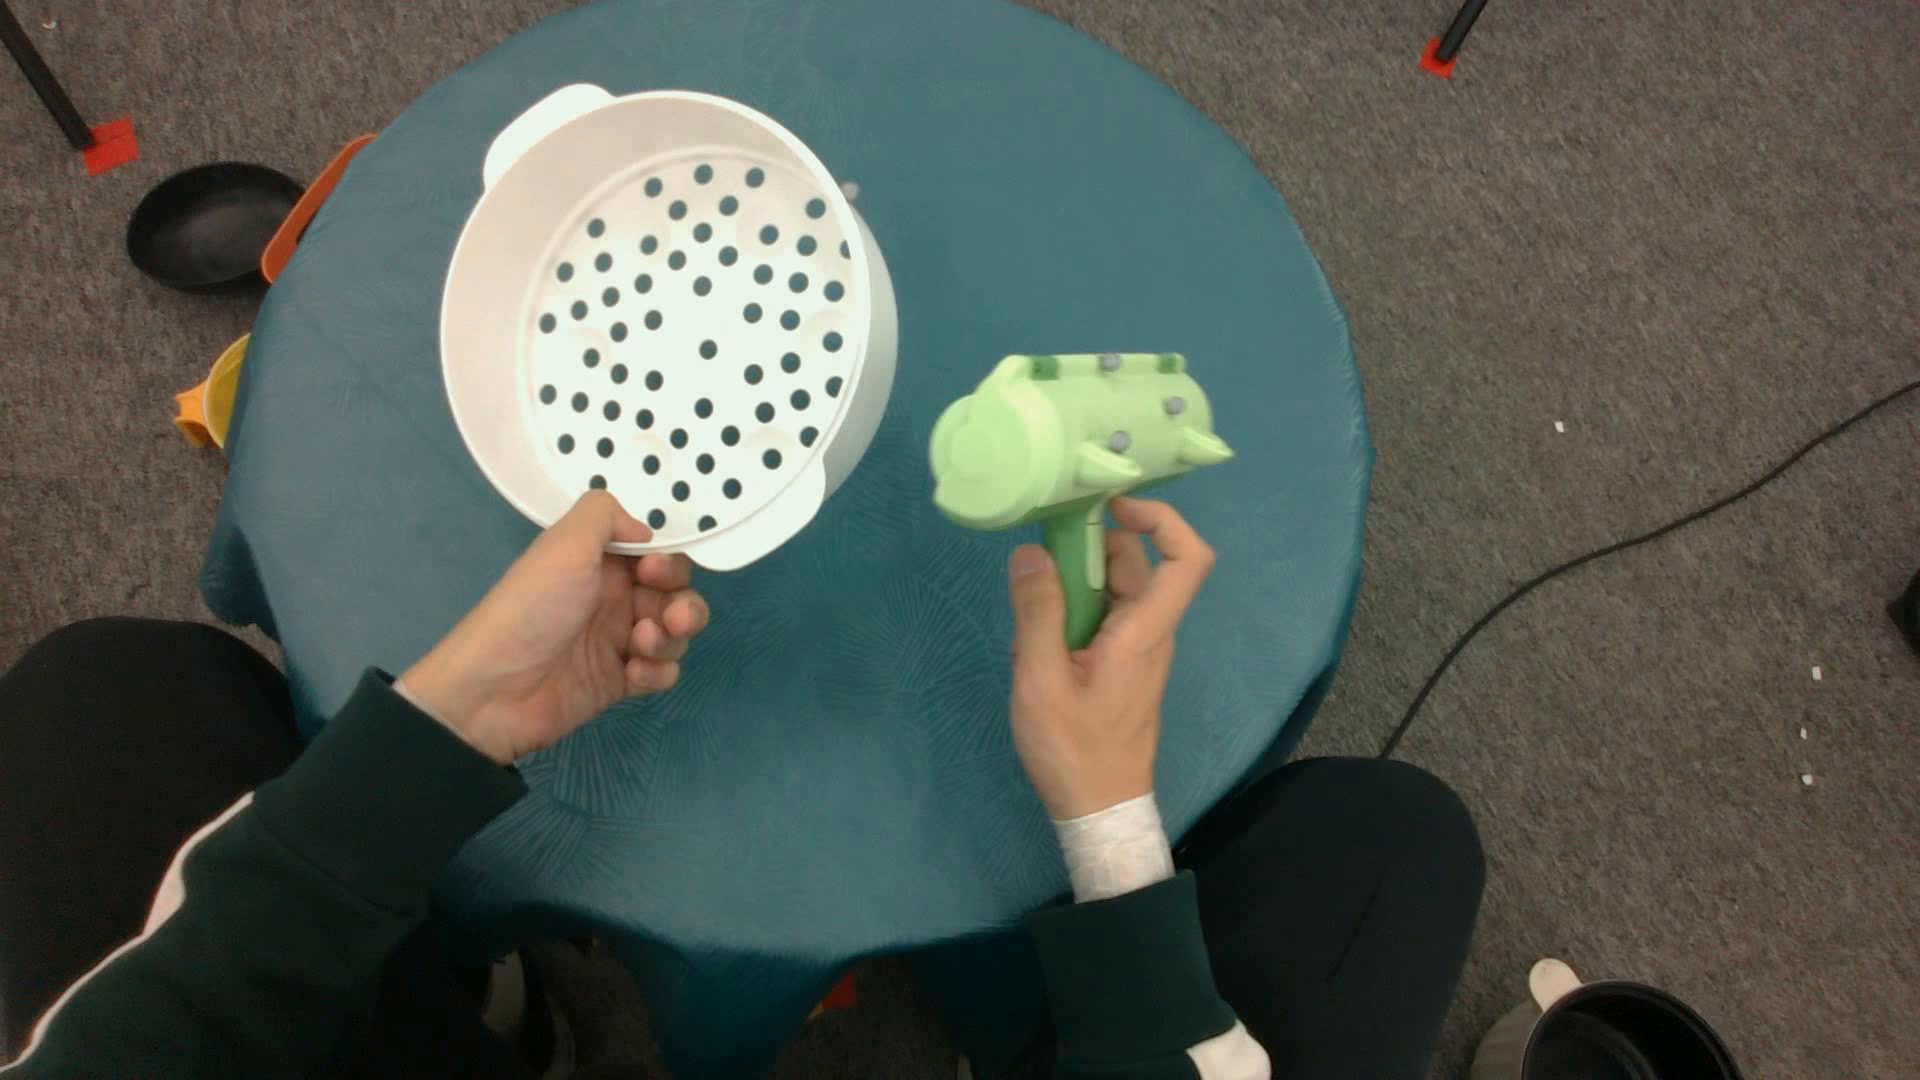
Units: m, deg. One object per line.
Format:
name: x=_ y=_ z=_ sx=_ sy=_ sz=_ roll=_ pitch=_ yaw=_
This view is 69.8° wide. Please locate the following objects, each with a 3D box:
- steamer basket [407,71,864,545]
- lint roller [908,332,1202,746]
steamer basket: x=-0.142 y=-0.101 z=0.618 sx=0.201 sy=0.069 sz=0.231 roll=-34 pitch=78 yaw=8
lint roller: x=0.054 y=0.002 z=0.603 sx=0.082 sy=0.199 sz=0.183 roll=-3 pitch=97 yaw=26
